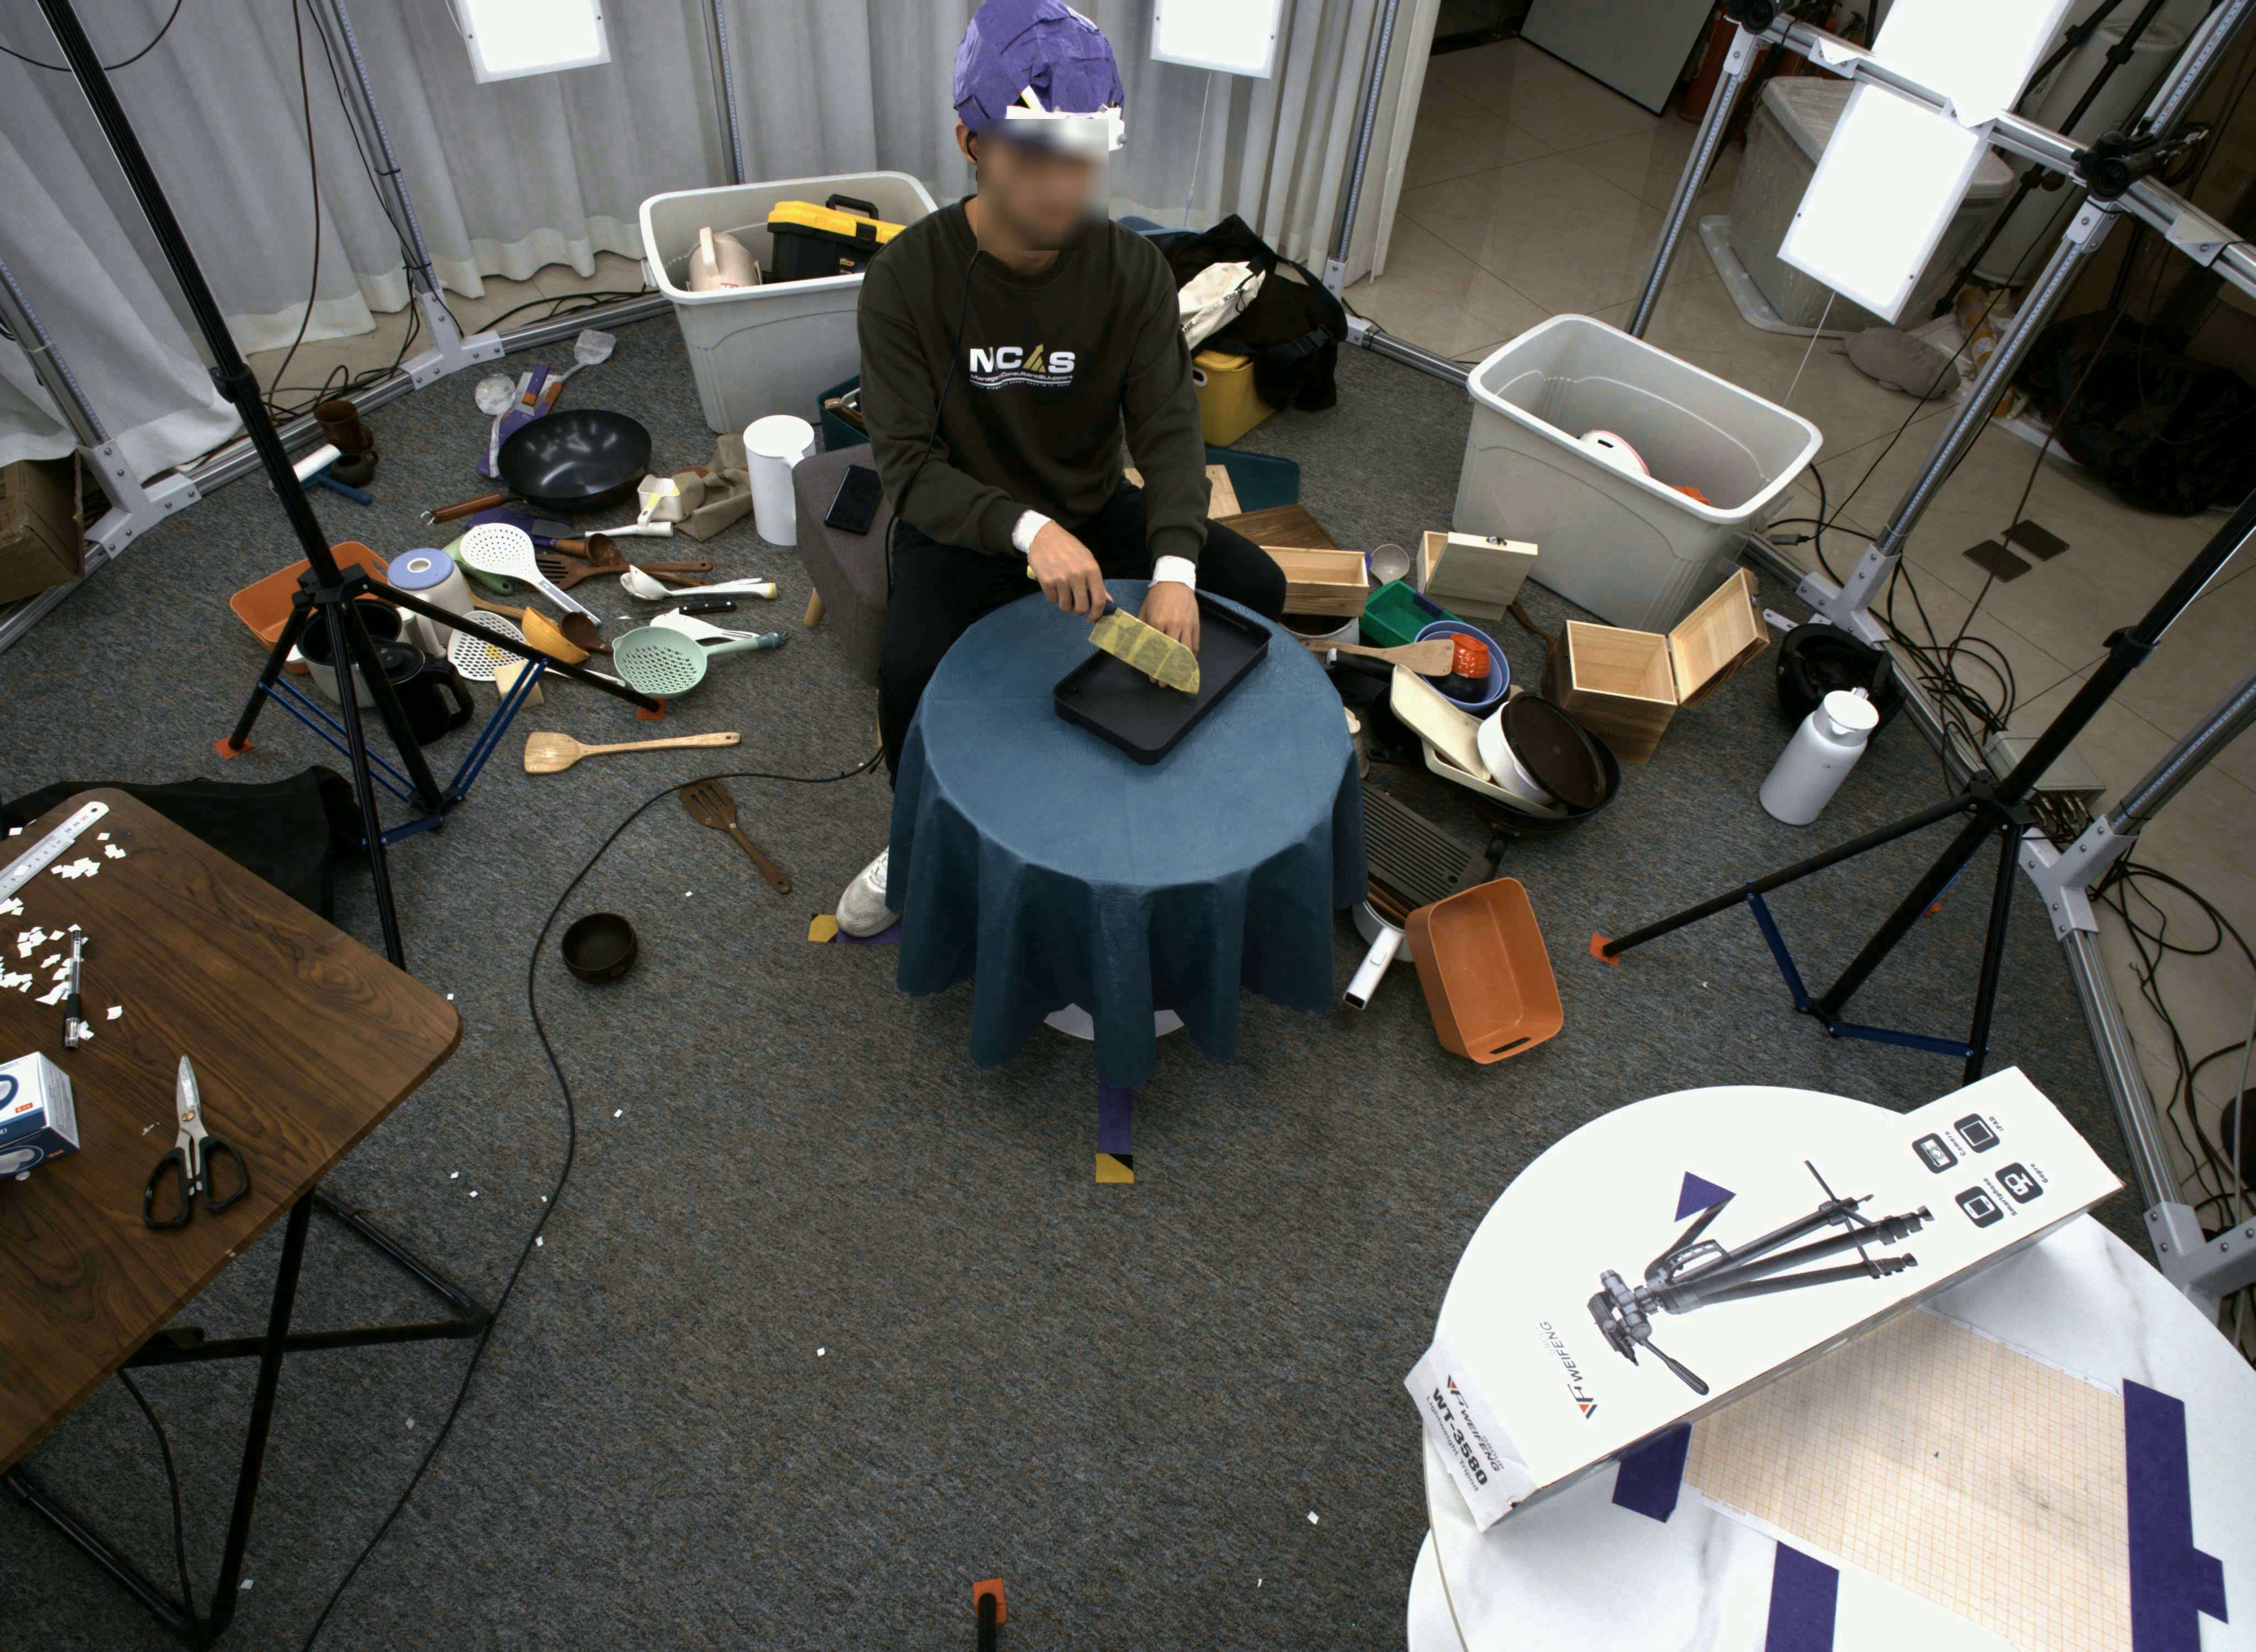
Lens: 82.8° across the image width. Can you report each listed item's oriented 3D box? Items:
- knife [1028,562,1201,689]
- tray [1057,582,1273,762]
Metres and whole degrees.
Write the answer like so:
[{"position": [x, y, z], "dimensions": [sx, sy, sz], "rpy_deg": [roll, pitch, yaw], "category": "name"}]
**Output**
[{"position": [-0.019, -0.278, 1.800], "dimensions": [0.289, 0.079, 0.028], "rpy_deg": [32, 37, -3], "category": "knife"}, {"position": [0.056, -0.228, 1.844], "dimensions": [0.186, 0.036, 0.322], "rpy_deg": [29, 53, 20], "category": "tray"}]
